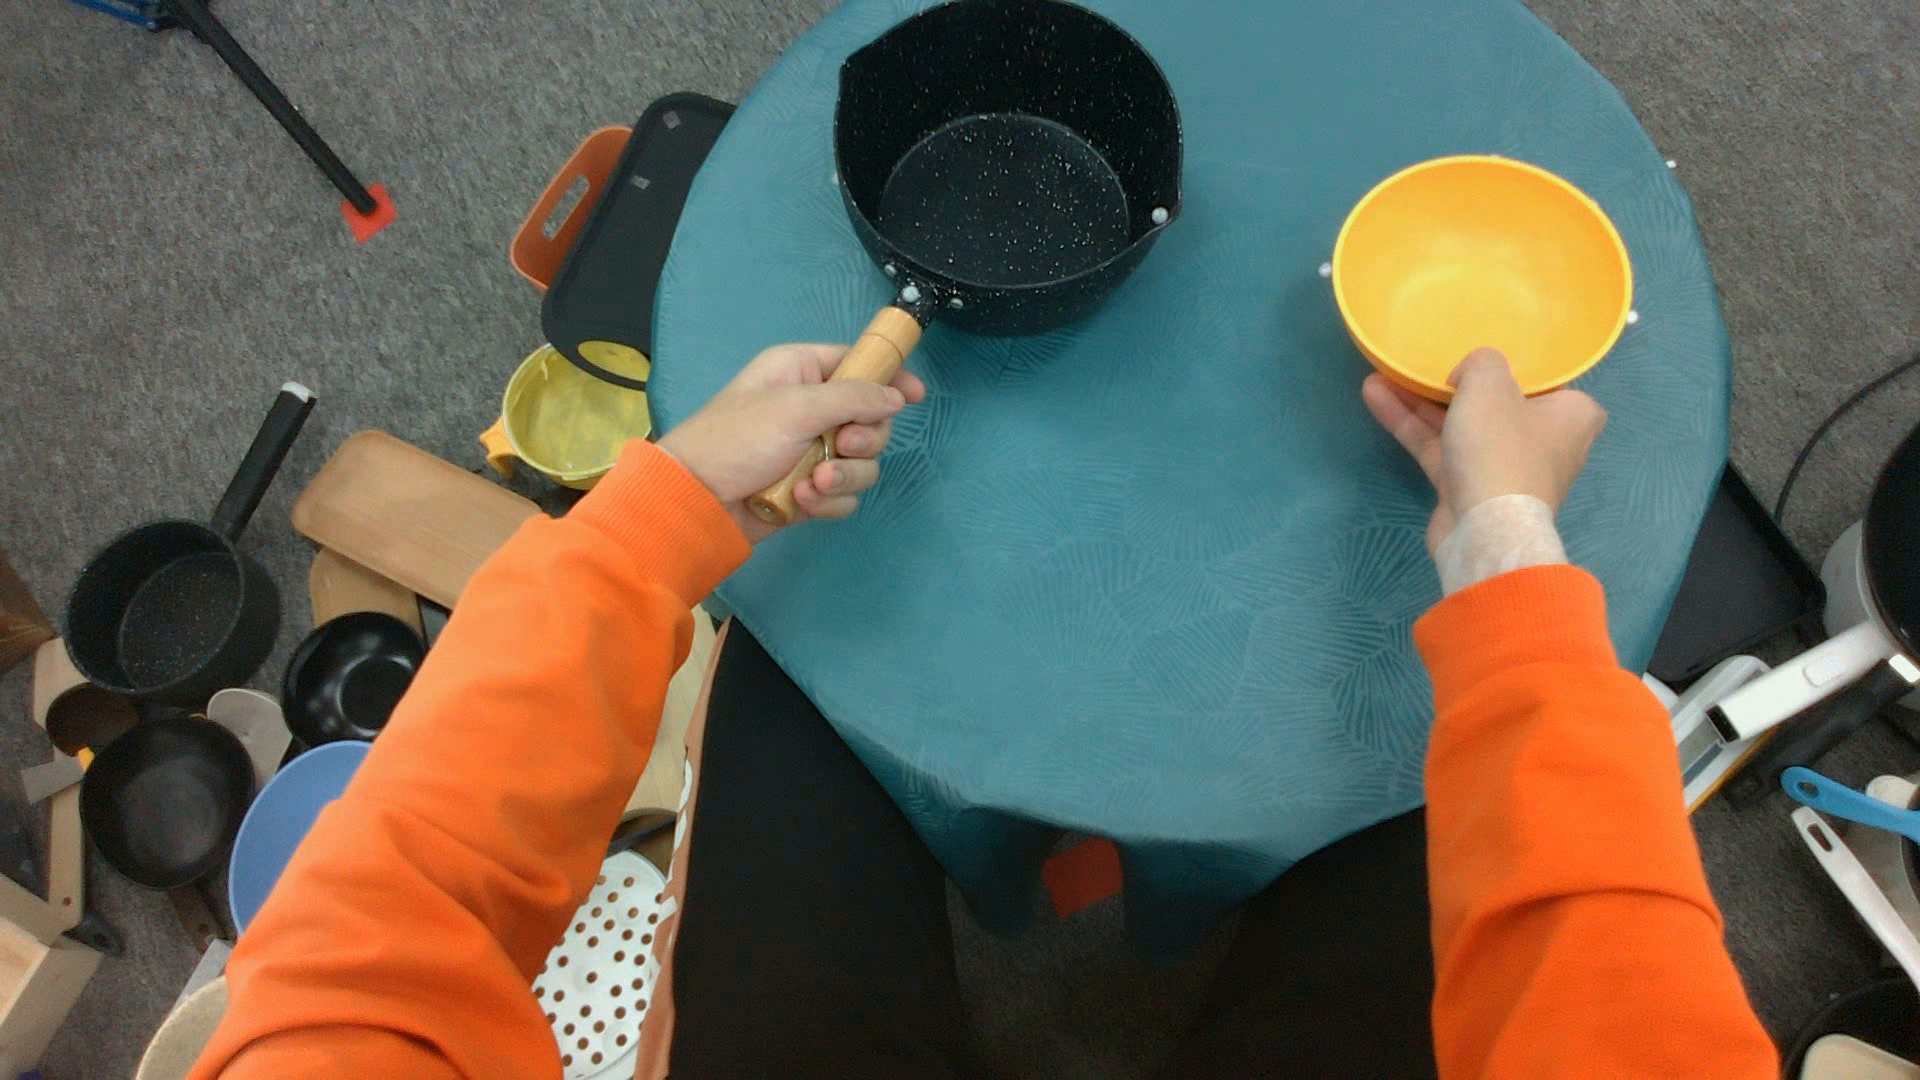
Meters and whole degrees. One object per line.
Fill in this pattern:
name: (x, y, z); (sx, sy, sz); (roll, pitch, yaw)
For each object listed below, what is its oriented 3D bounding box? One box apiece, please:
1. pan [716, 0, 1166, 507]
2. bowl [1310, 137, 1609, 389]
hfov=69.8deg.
pan: (-0.022, -0.144, 0.722); (0.207, 0.108, 0.344); (27, 71, 4)
bowl: (0.255, -0.134, 0.720); (0.145, 0.060, 0.146); (-3, 68, 7)
